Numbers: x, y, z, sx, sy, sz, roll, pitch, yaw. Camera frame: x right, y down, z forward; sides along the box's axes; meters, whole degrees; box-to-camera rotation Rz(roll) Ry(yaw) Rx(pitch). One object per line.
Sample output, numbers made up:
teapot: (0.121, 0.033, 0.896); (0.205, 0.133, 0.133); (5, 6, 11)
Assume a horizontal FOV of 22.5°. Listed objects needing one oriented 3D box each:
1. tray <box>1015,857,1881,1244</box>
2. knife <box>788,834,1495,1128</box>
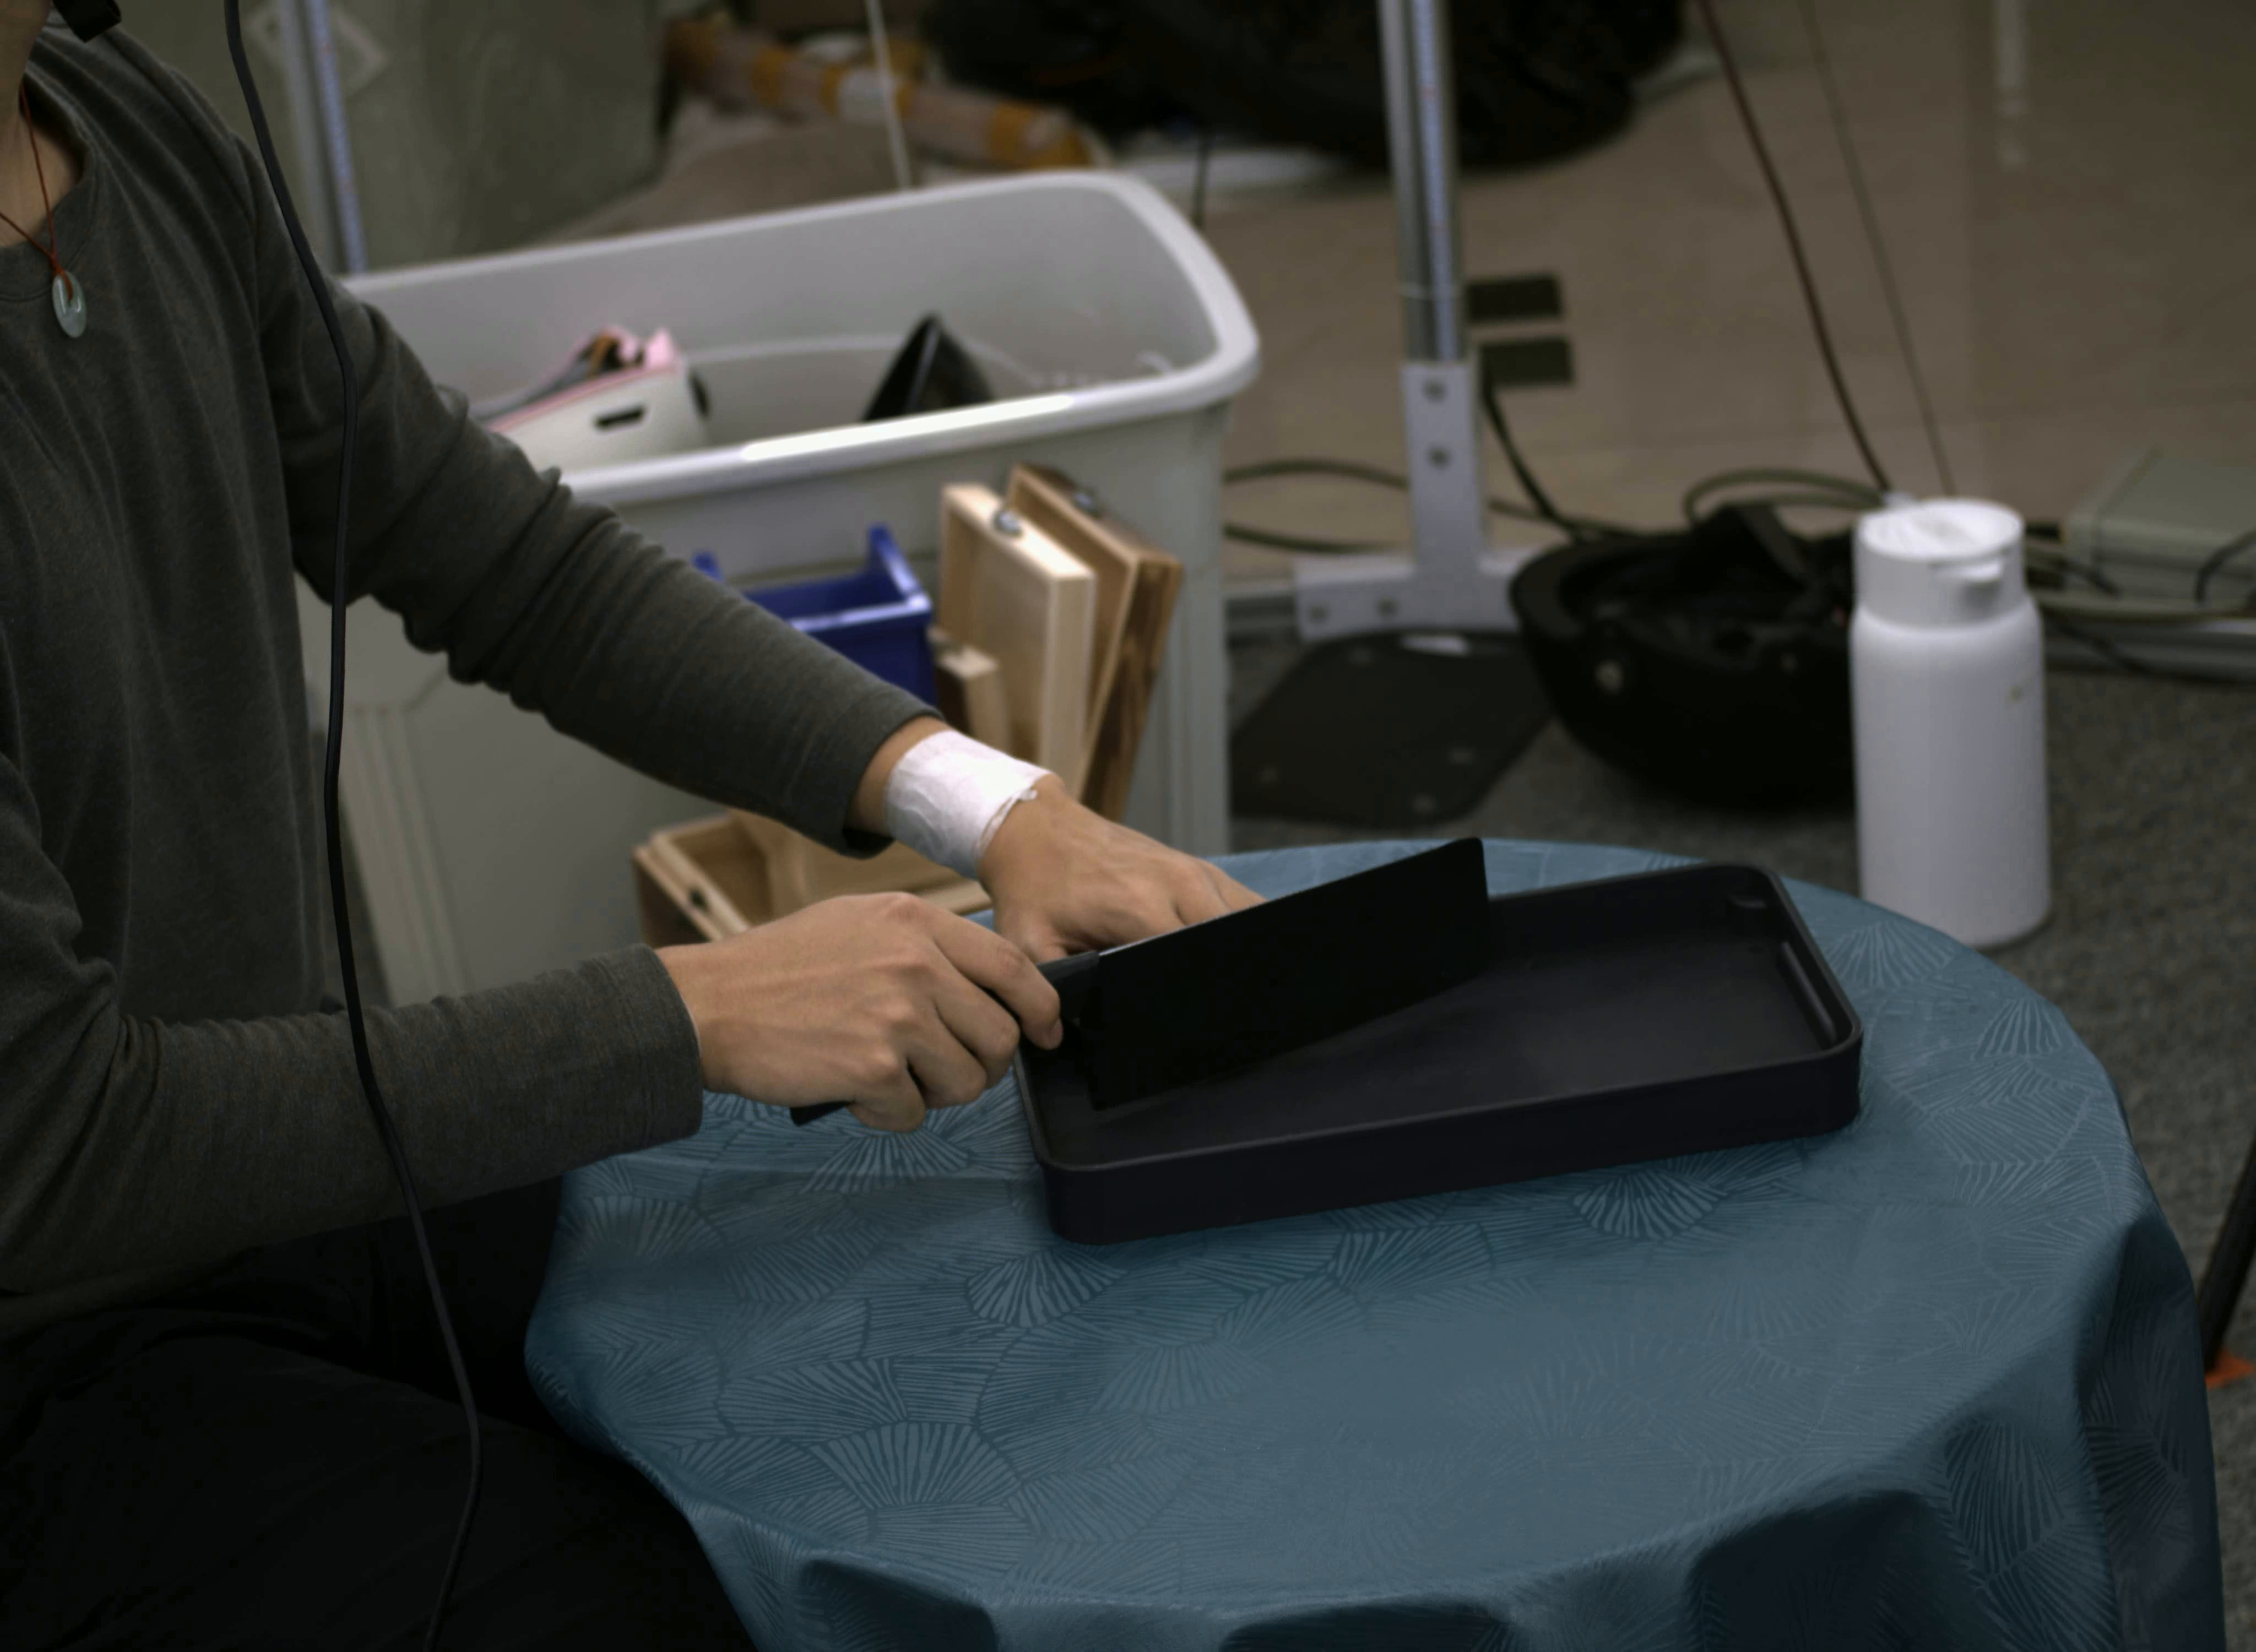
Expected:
tray: (0.119, 0.084, 2.196); (0.317, 0.037, 0.181); (-9, 25, -6)
knife: (0.009, 0.069, 2.188); (0.301, 0.082, 0.020); (-13, 25, -22)
